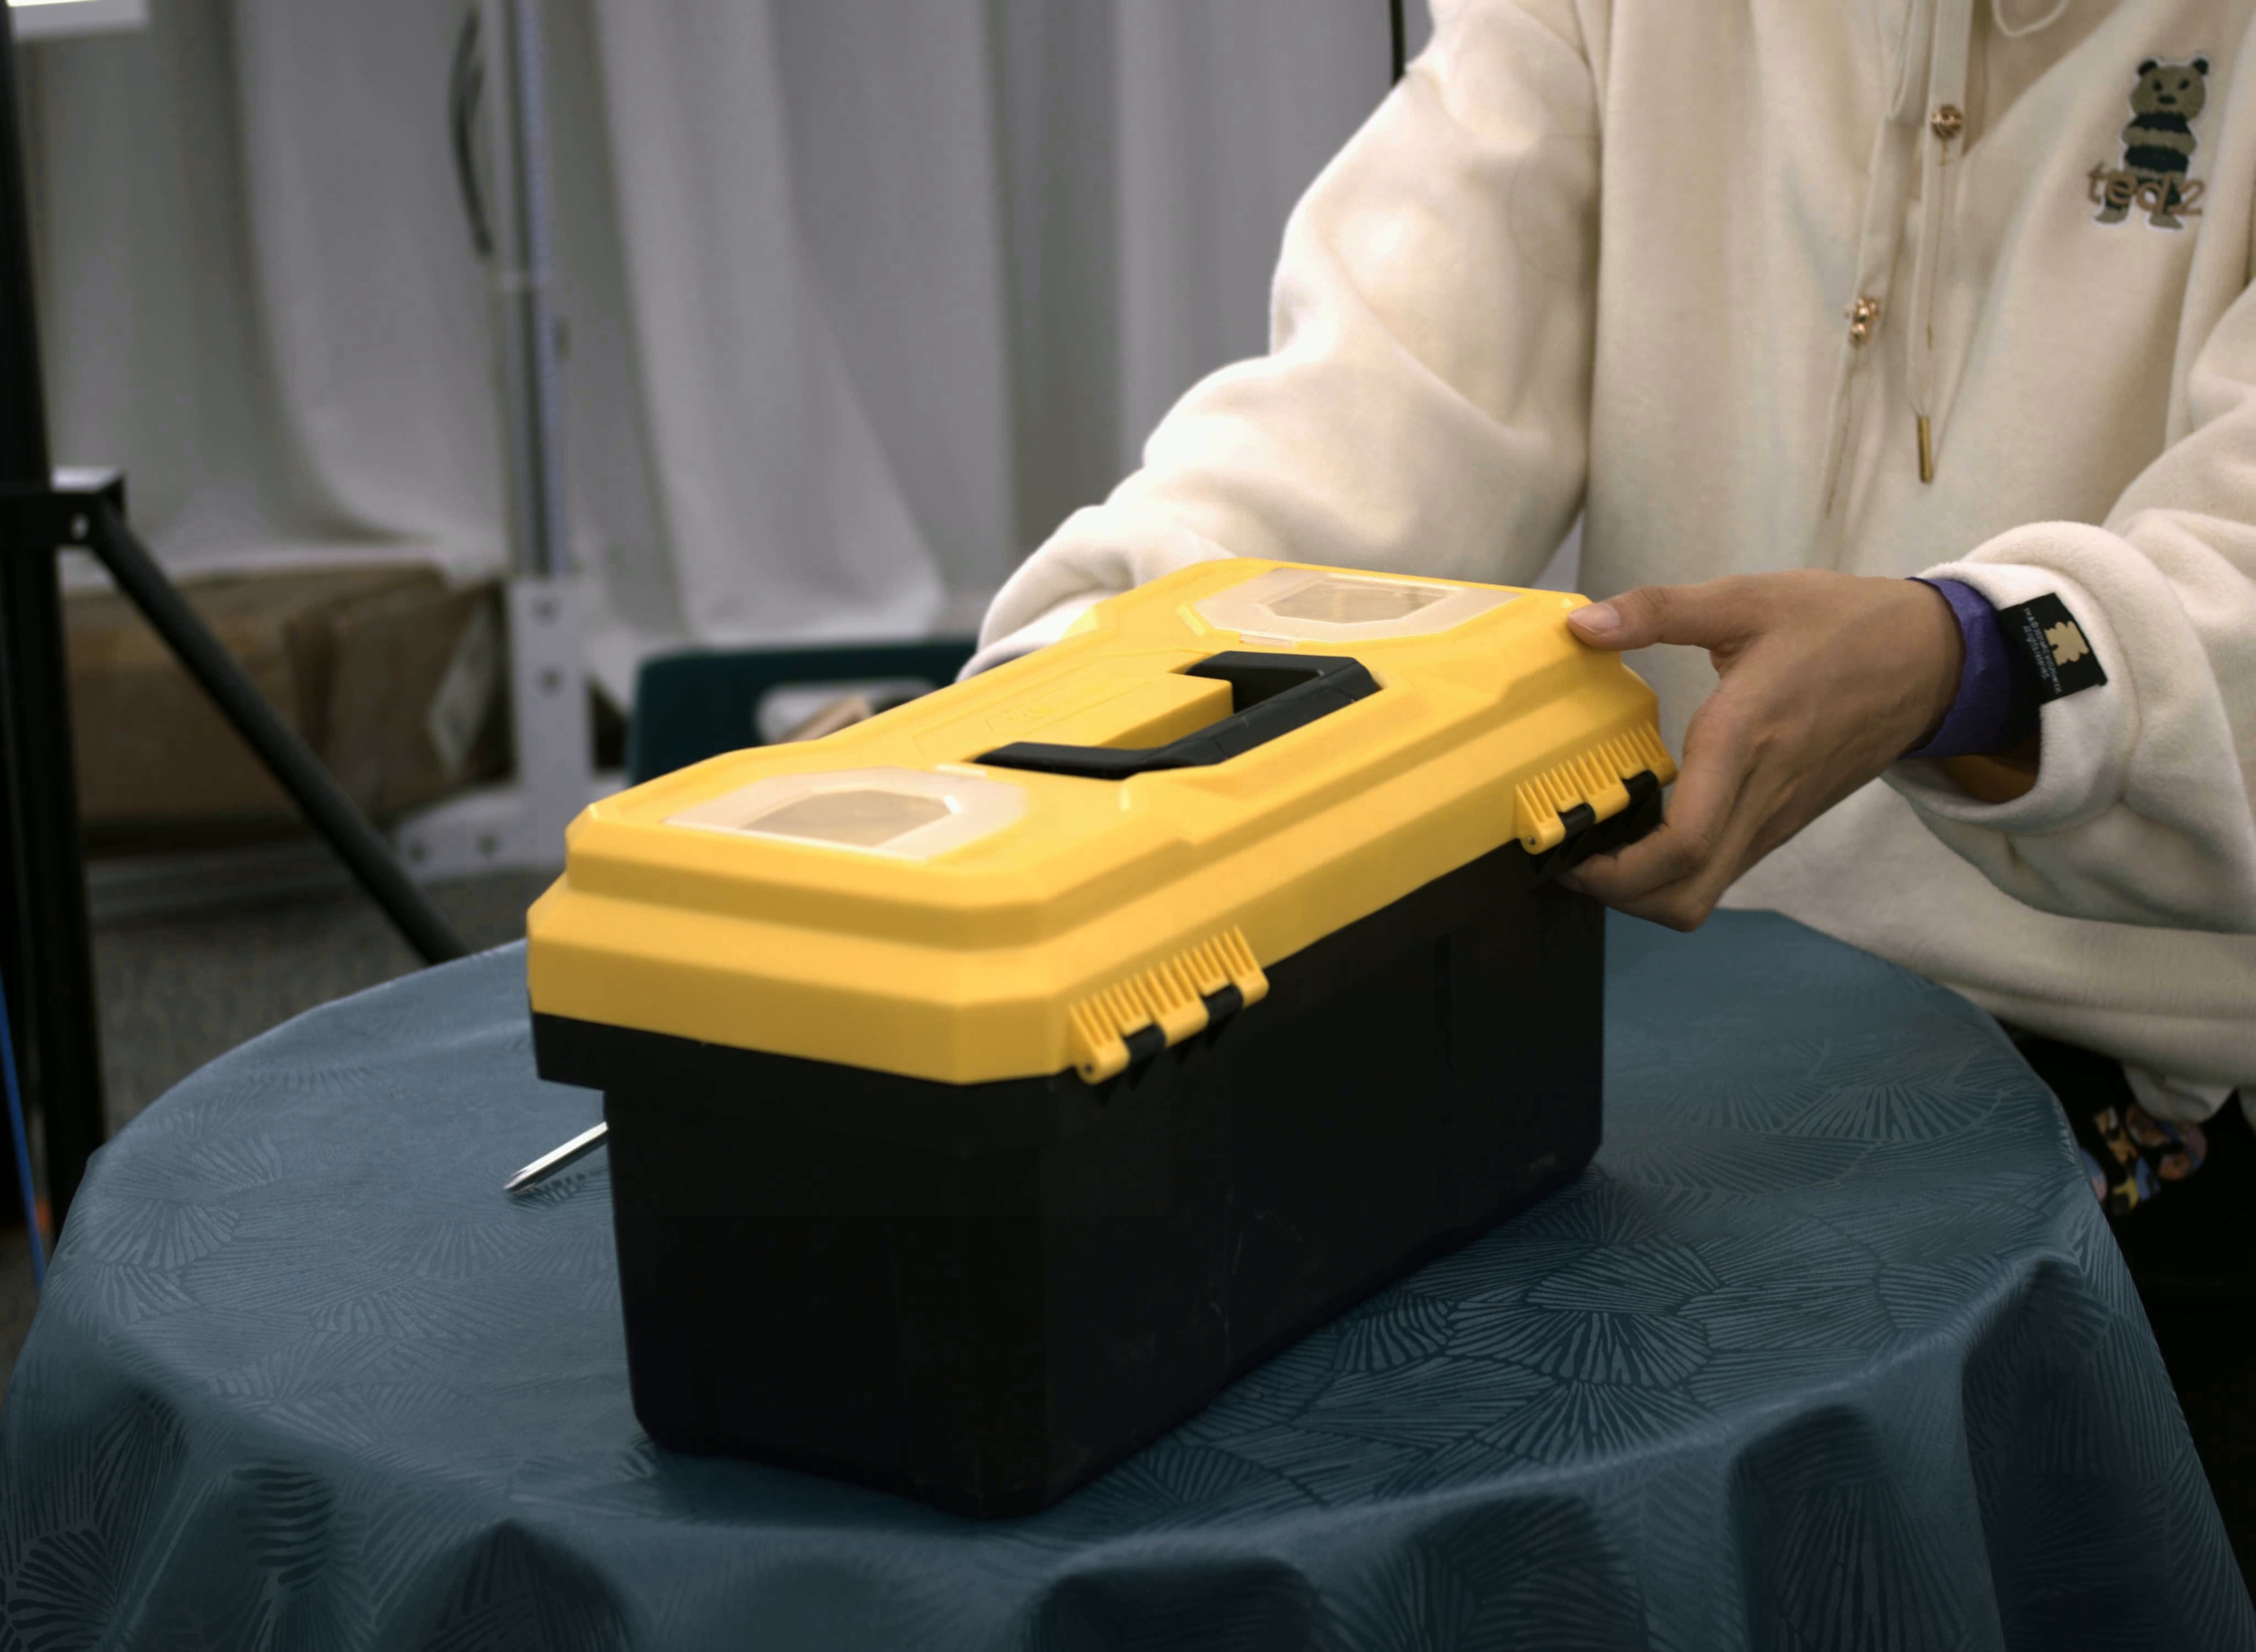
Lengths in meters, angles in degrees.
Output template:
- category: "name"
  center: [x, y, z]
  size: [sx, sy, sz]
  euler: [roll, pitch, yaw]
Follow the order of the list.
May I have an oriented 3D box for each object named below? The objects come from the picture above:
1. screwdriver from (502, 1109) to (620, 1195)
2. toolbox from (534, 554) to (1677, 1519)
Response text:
- category: "screwdriver"
  center: [-0.125, 0.067, 1.641]
  size: [0.032, 0.031, 0.192]
  euler: [12, 29, 41]
- category: "toolbox"
  center: [0.003, 0.047, 1.453]
  size: [0.185, 0.173, 0.344]
  euler: [8, 19, 34]
